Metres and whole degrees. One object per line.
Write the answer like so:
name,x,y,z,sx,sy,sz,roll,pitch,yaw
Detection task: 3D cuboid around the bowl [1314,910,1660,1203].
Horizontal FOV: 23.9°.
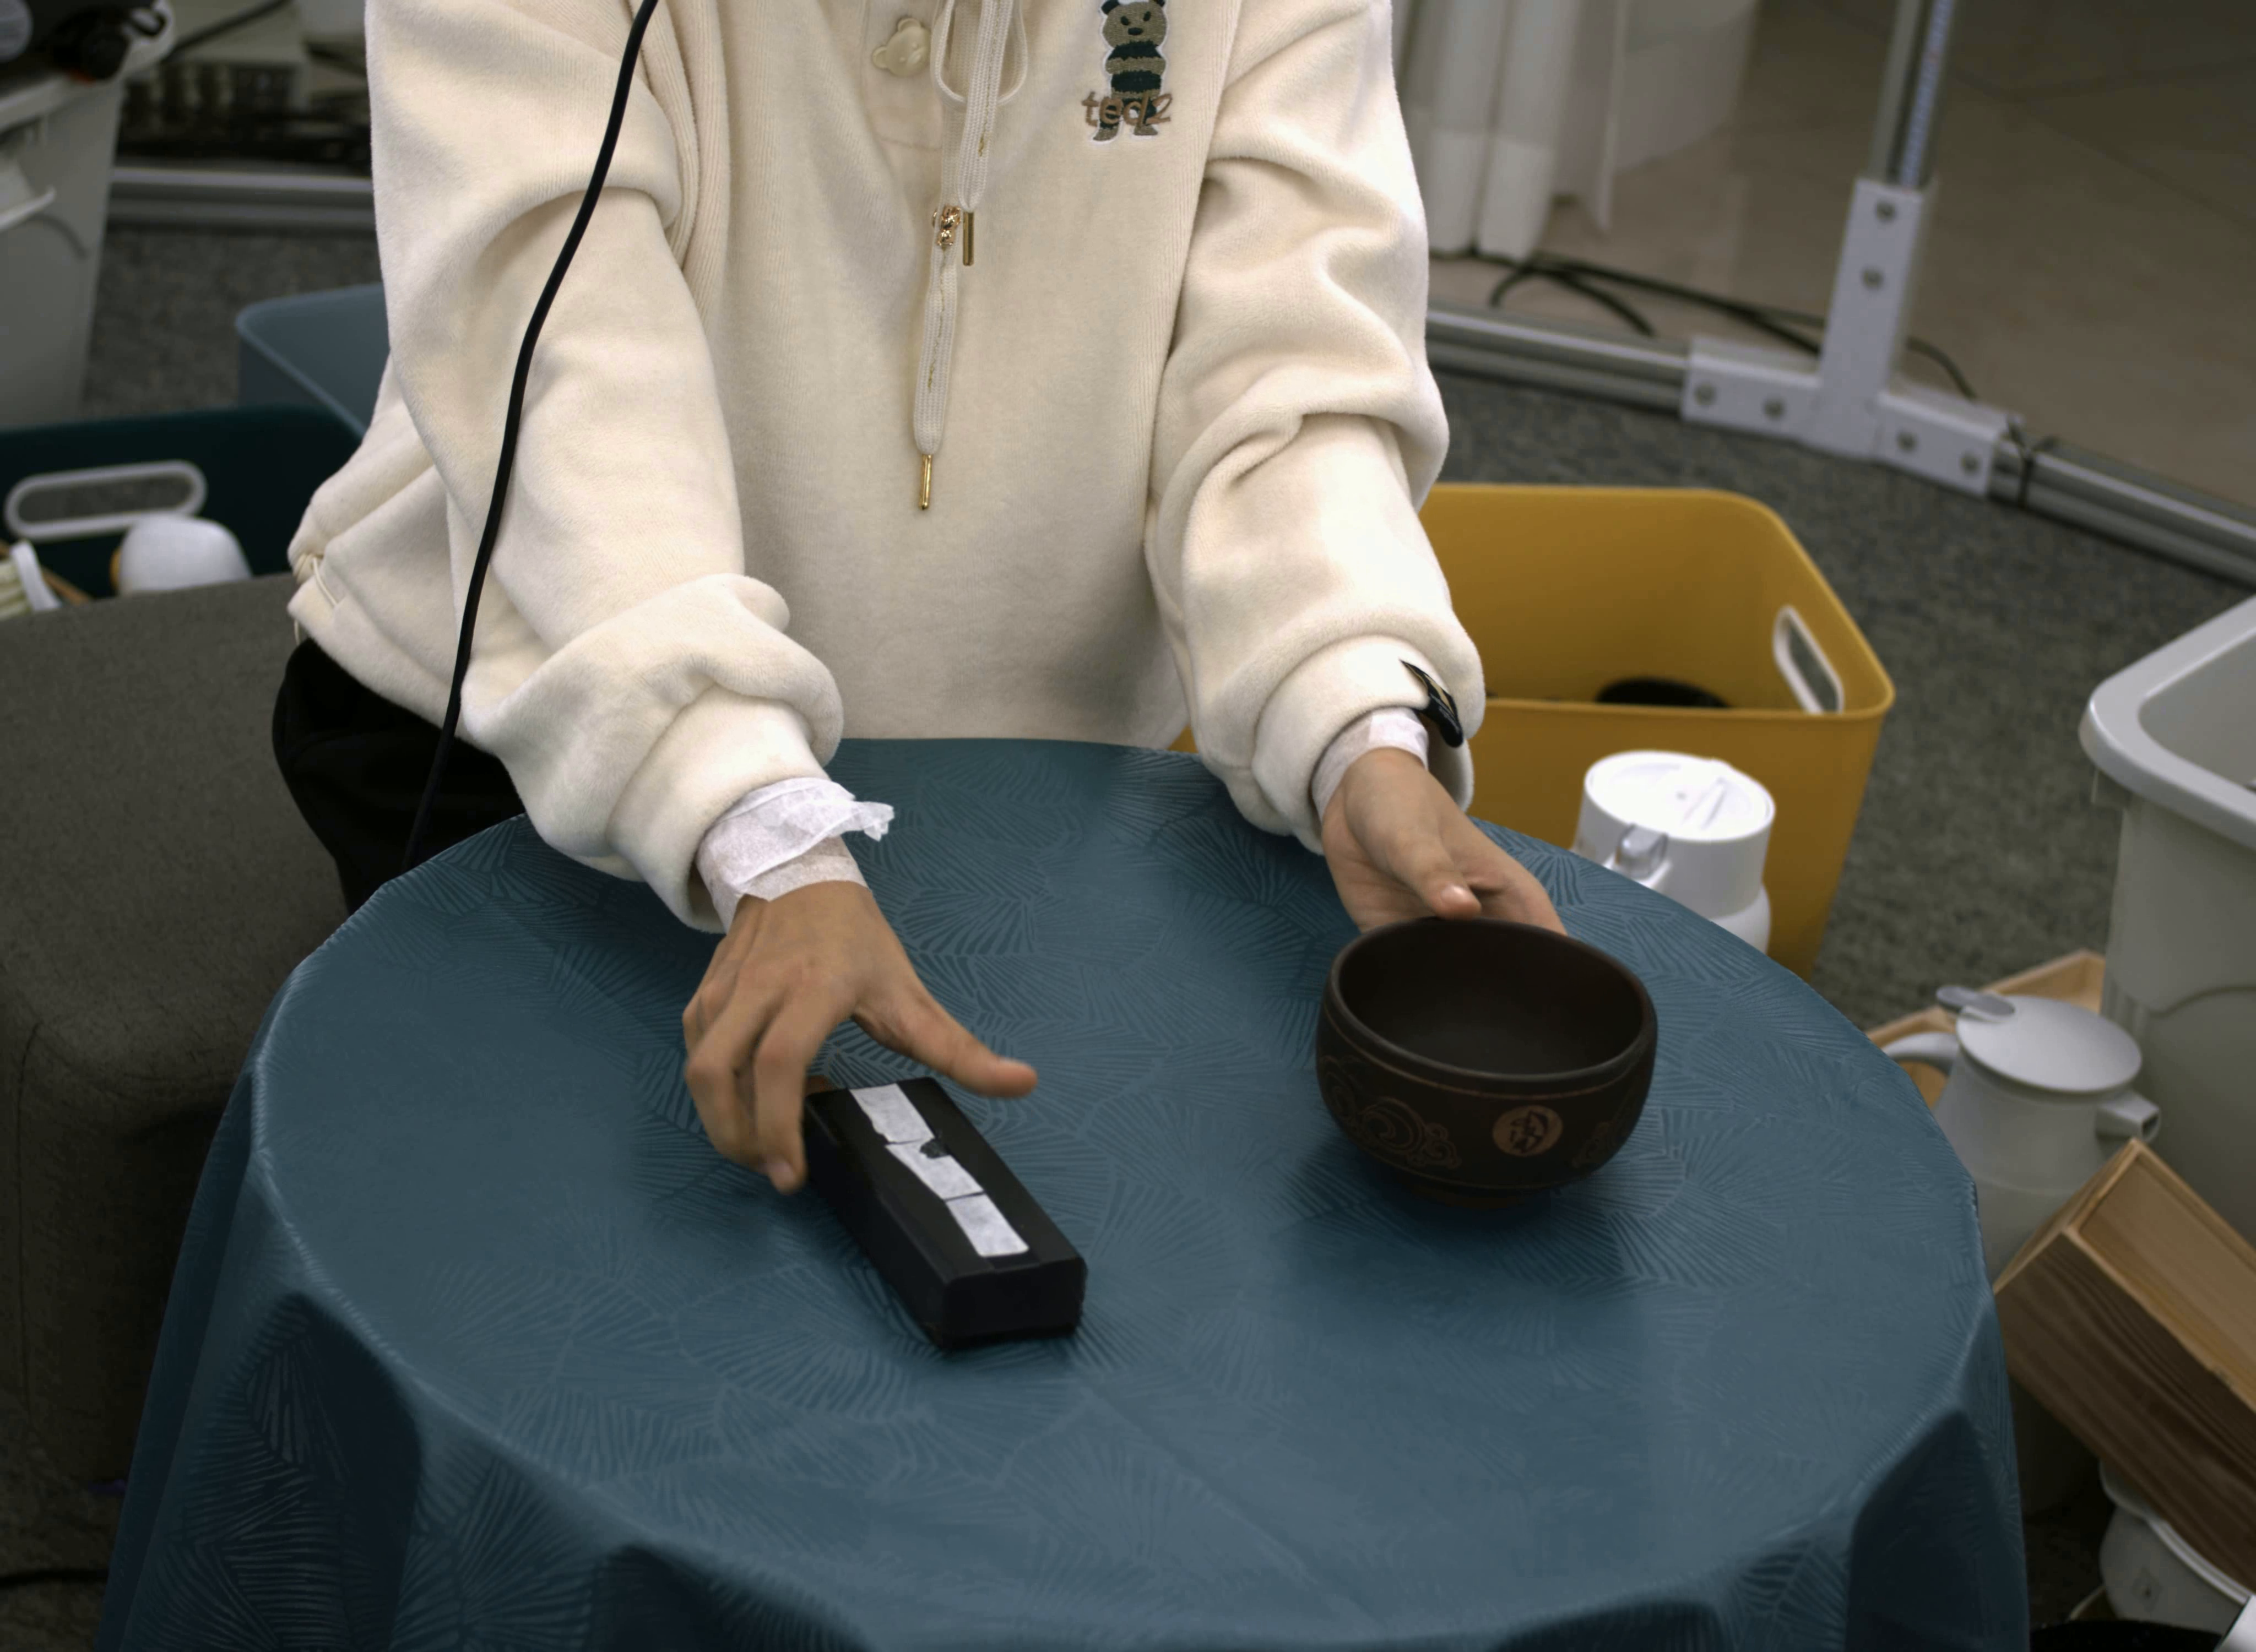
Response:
bowl,0.121,0.086,1.824,0.117,0.069,0.119,4,26,-3

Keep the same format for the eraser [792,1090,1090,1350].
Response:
eraser,-0.062,0.129,1.749,0.053,0.030,0.126,-6,28,-26
